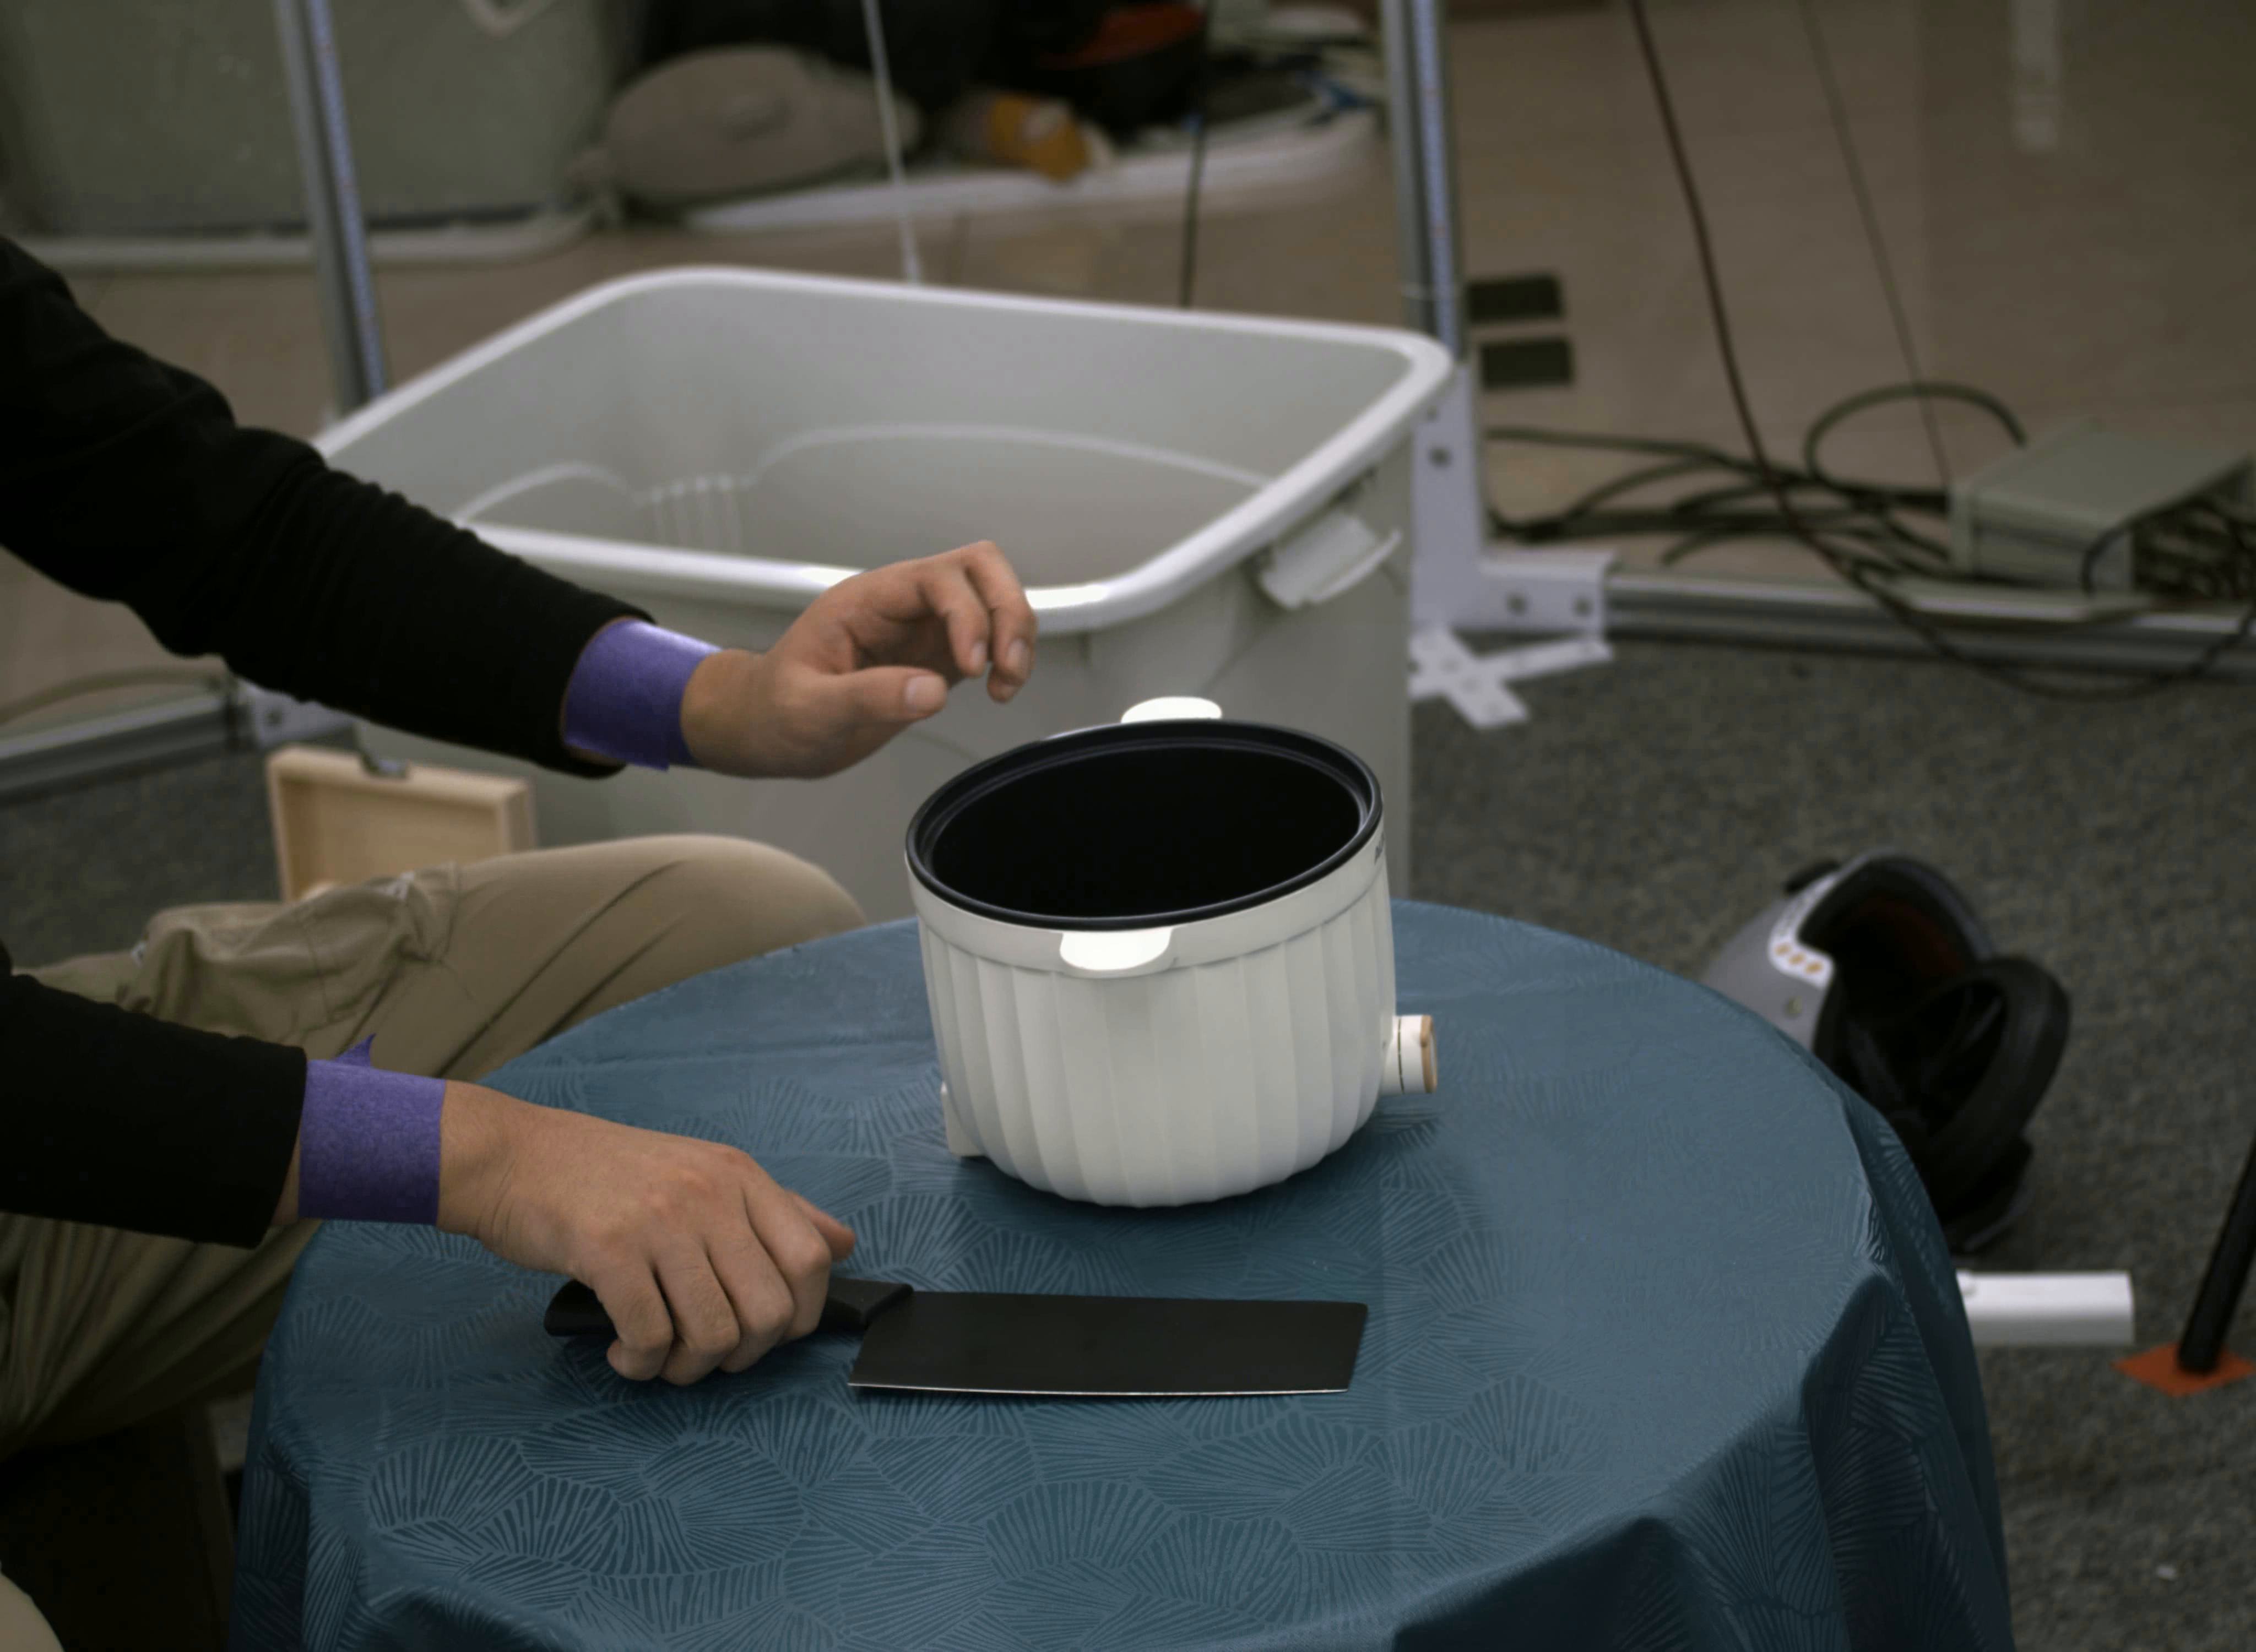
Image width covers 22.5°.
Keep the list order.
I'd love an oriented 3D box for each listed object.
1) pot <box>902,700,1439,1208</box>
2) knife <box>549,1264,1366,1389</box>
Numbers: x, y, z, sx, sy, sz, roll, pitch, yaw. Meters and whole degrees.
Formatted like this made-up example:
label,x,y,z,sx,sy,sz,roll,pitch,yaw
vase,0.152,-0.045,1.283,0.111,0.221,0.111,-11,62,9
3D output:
label,x,y,z,sx,sy,sz,roll,pitch,yaw
pot,0.018,0.056,2.159,0.190,0.145,0.237,-6,26,9
knife,-0.064,0.183,2.055,0.301,0.021,0.080,3,26,14
